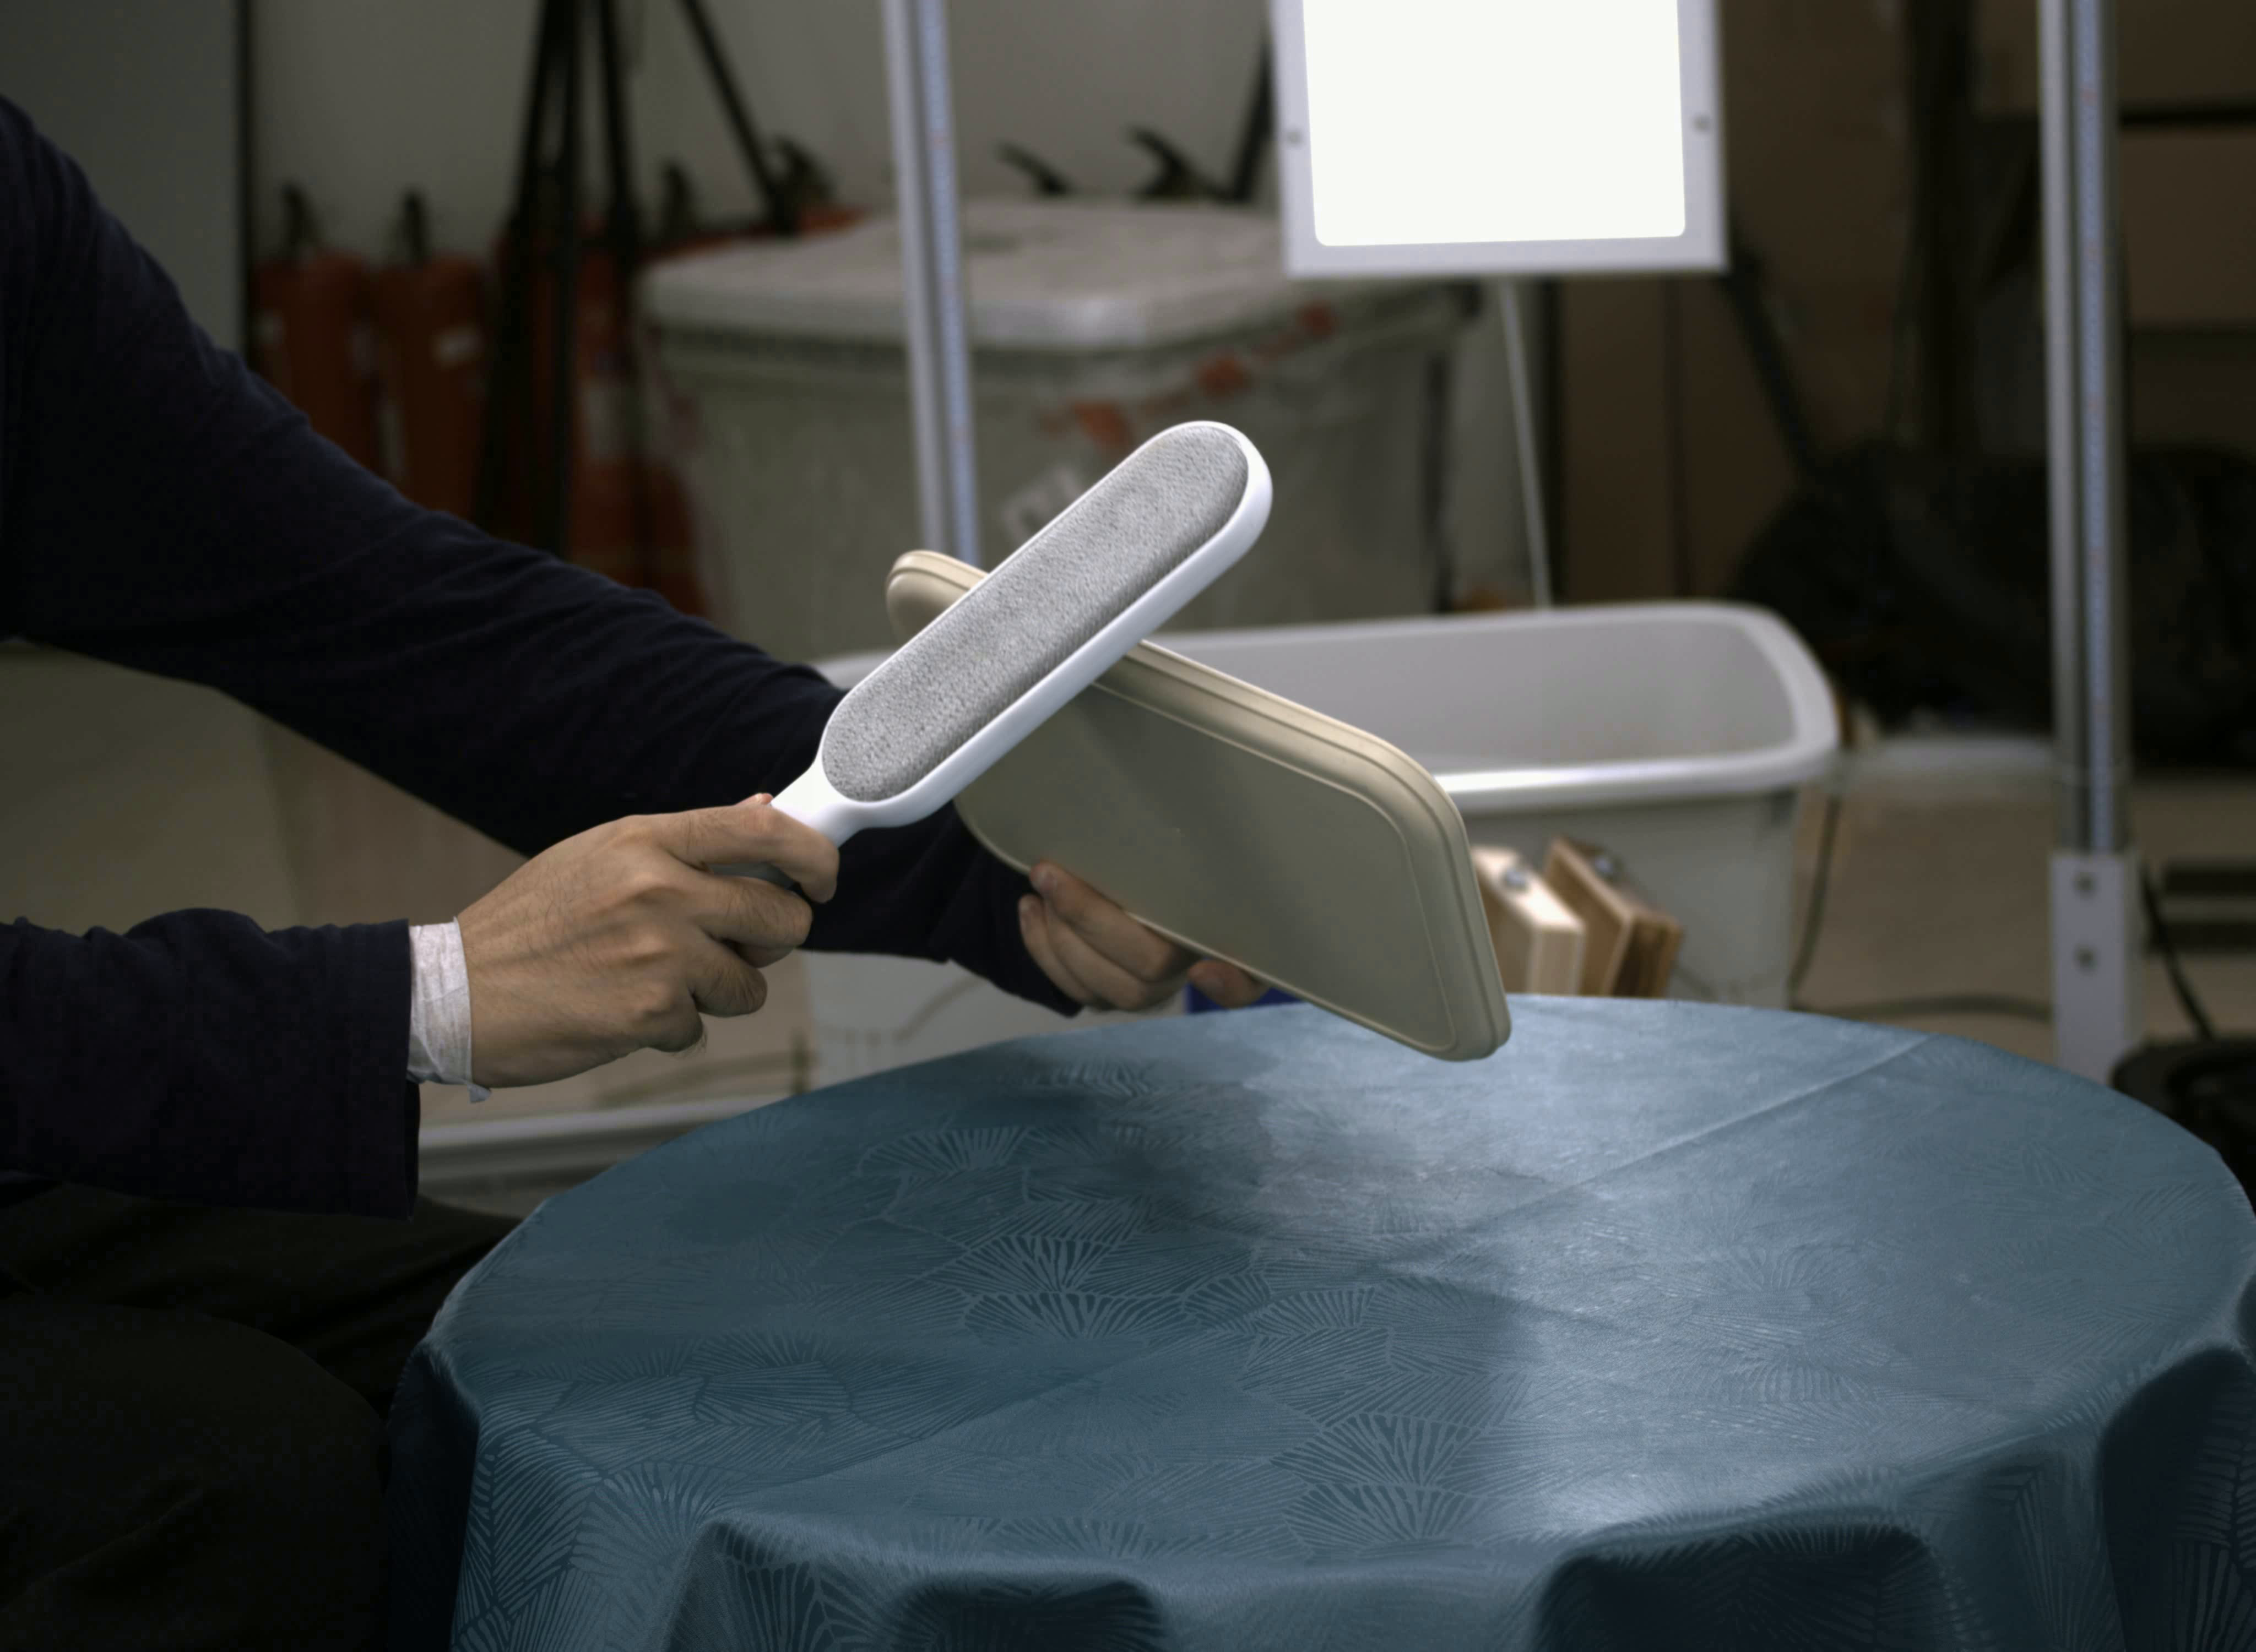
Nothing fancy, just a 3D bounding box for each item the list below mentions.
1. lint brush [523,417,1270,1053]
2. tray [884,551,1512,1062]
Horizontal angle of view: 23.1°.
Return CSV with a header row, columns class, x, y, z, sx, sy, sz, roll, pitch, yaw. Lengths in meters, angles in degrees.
class,x,y,z,sx,sy,sz,roll,pitch,yaw
lint brush,-0.078,-0.028,1.799,0.310,0.020,0.060,-39,53,8
tray,0.021,-0.004,1.887,0.243,0.171,0.017,24,62,30
